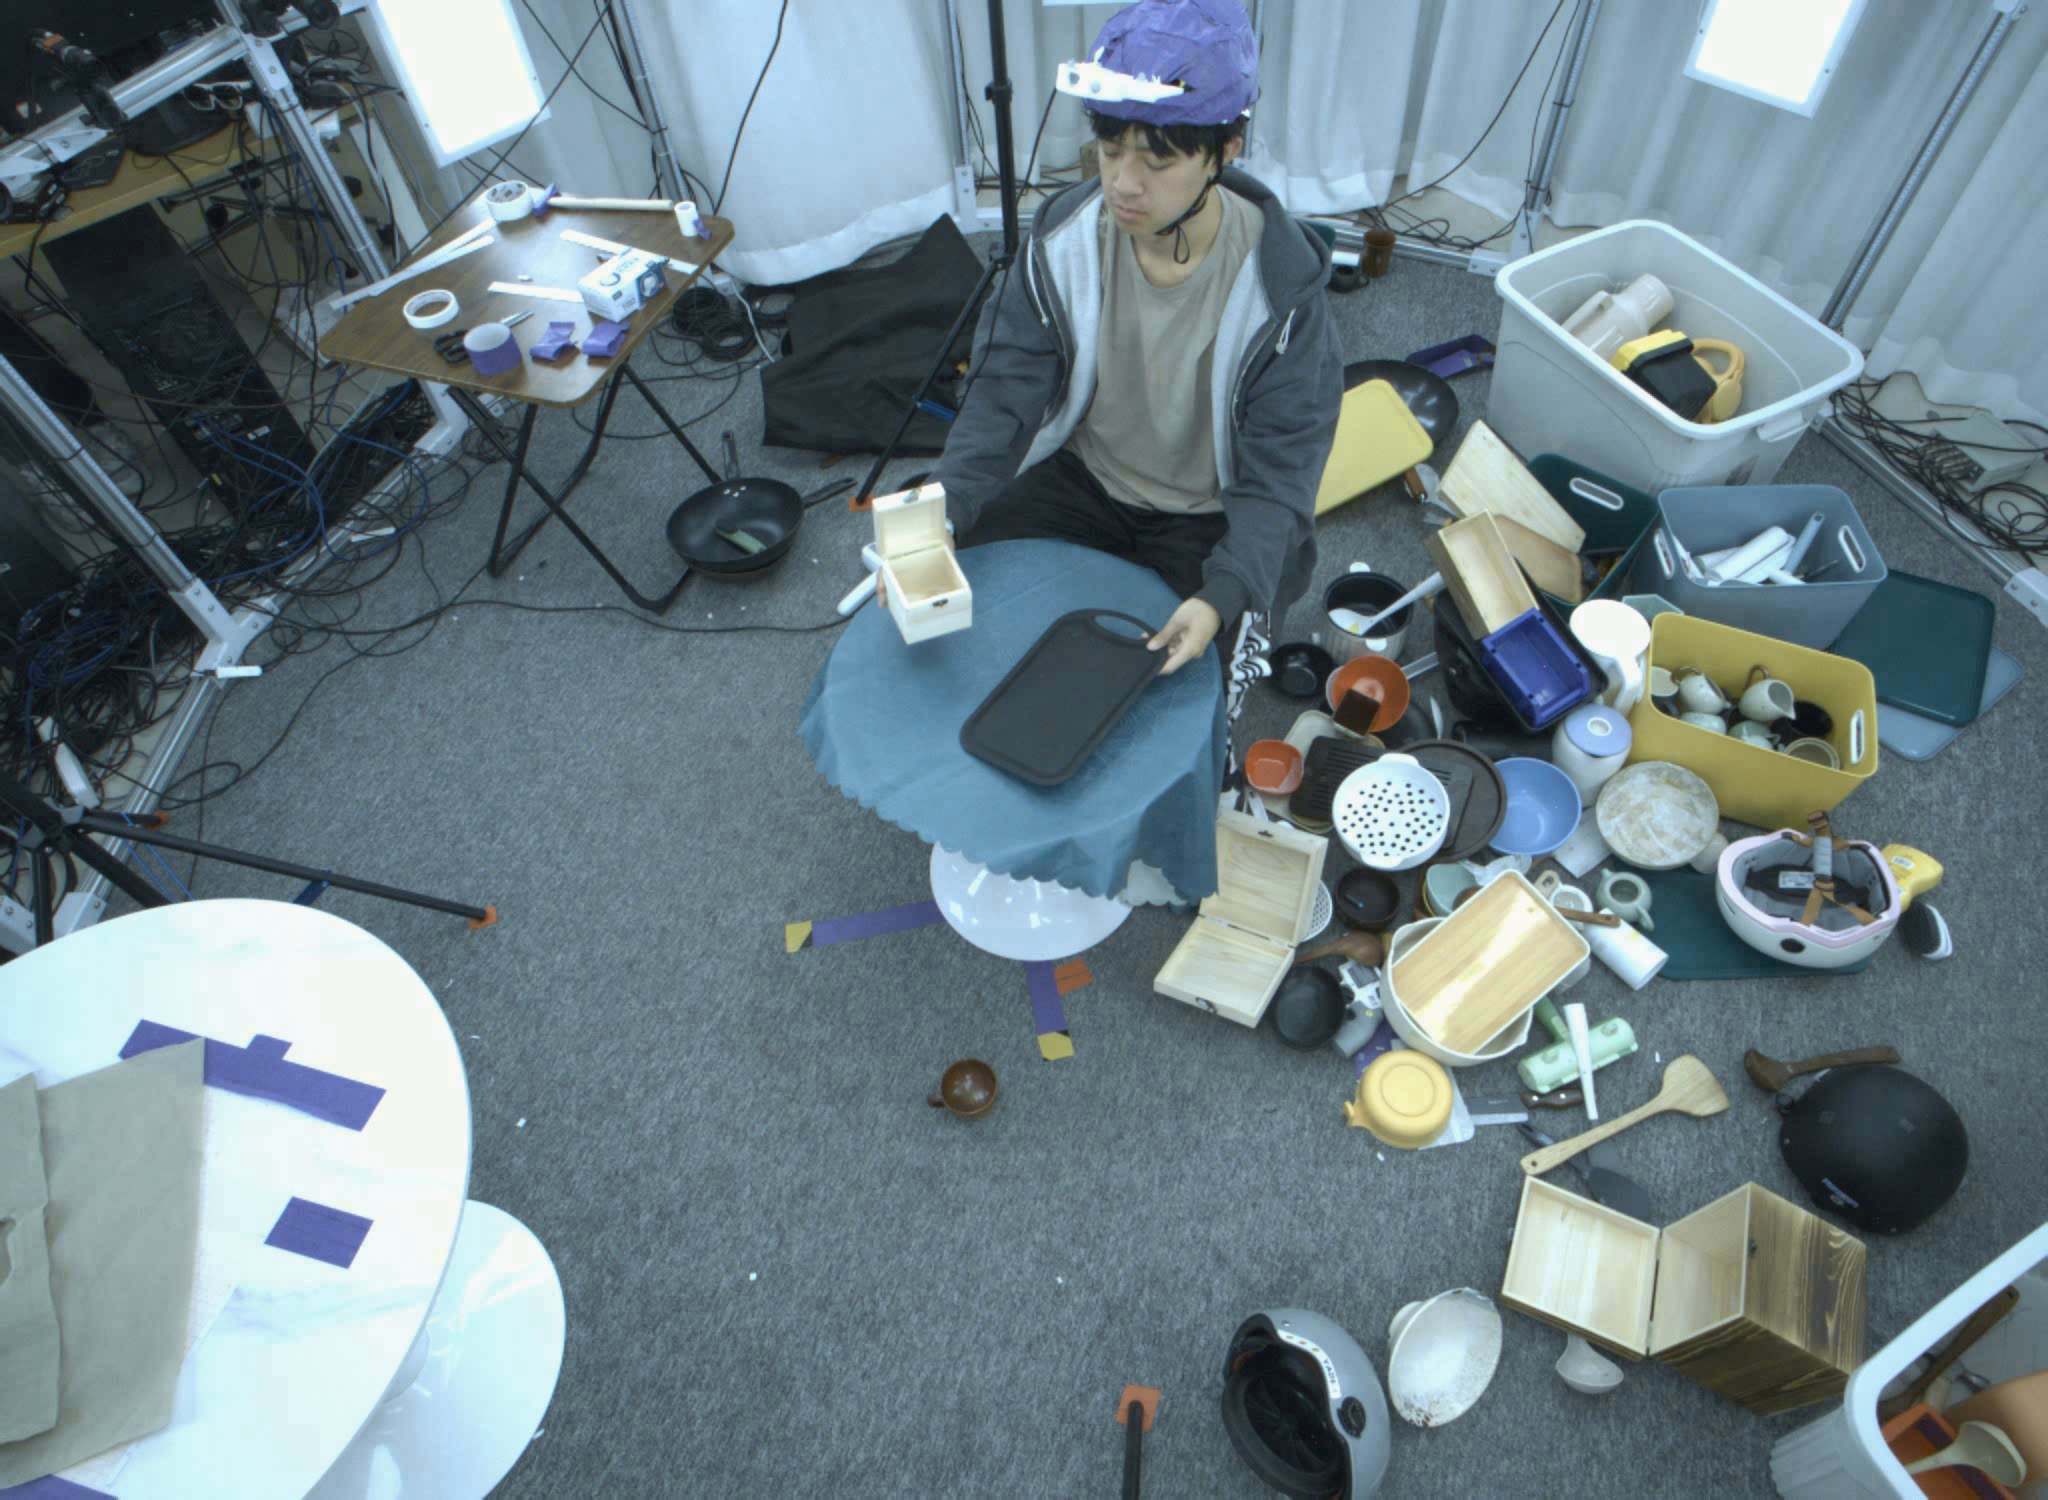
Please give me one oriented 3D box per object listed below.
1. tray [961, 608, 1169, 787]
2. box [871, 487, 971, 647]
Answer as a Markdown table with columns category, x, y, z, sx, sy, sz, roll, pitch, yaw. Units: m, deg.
| category | x | y | z | sx | sy | sz | roll | pitch | yaw |
| --- | --- | --- | --- | --- | --- | --- | --- | --- | --- |
| tray | 0.064 | -0.091 | 1.812 | 0.206 | 0.010 | 0.326 | 27 | 64 | 32 |
| box | -0.147 | -0.263 | 1.757 | 0.103 | 0.186 | 0.131 | -20 | 56 | -16 |
